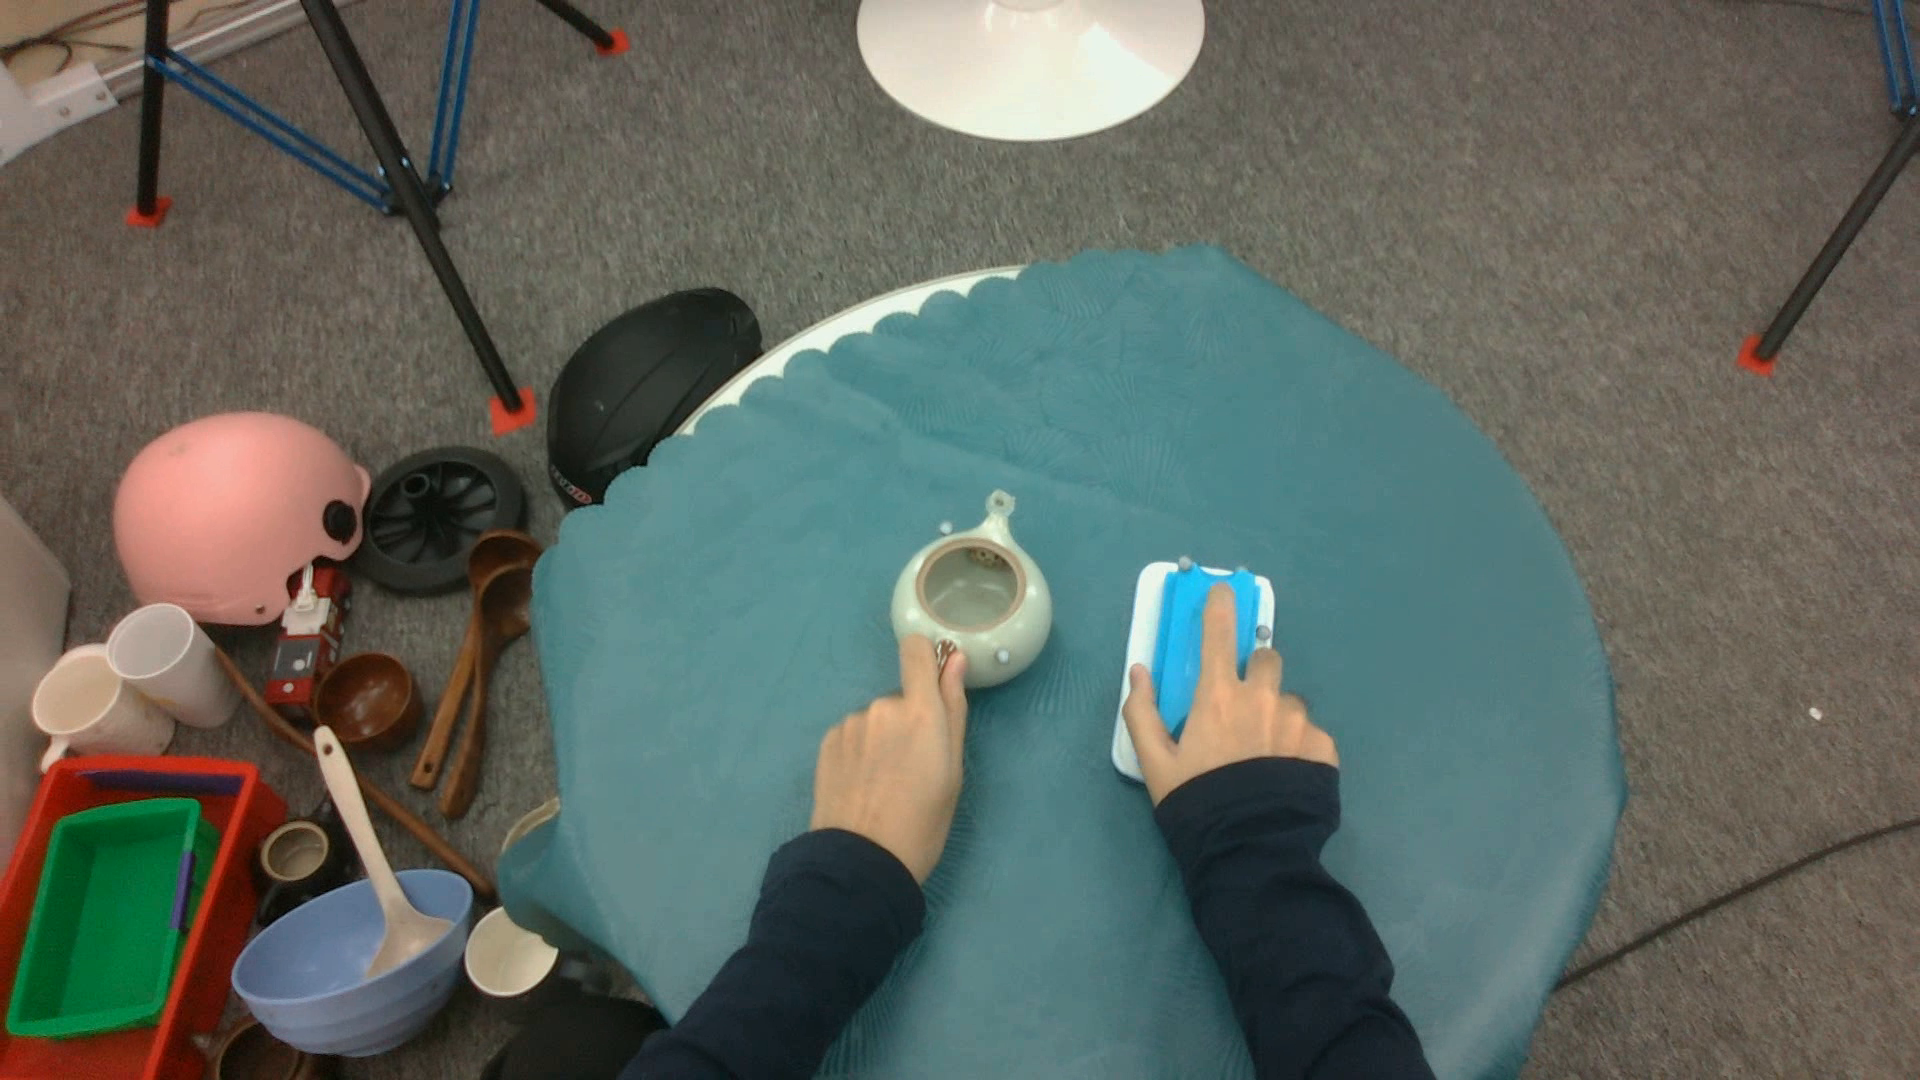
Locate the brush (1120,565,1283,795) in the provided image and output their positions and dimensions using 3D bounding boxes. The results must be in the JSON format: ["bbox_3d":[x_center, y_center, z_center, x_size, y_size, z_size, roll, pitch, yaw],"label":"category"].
[{"bbox_3d":[0.137,0.070,0.767,0.084,0.055,0.144,4,50,13],"label":"brush"}]

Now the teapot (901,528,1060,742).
[{"bbox_3d":[0.009,0.057,0.788,0.092,0.059,0.128,13,57,9],"label":"teapot"}]
